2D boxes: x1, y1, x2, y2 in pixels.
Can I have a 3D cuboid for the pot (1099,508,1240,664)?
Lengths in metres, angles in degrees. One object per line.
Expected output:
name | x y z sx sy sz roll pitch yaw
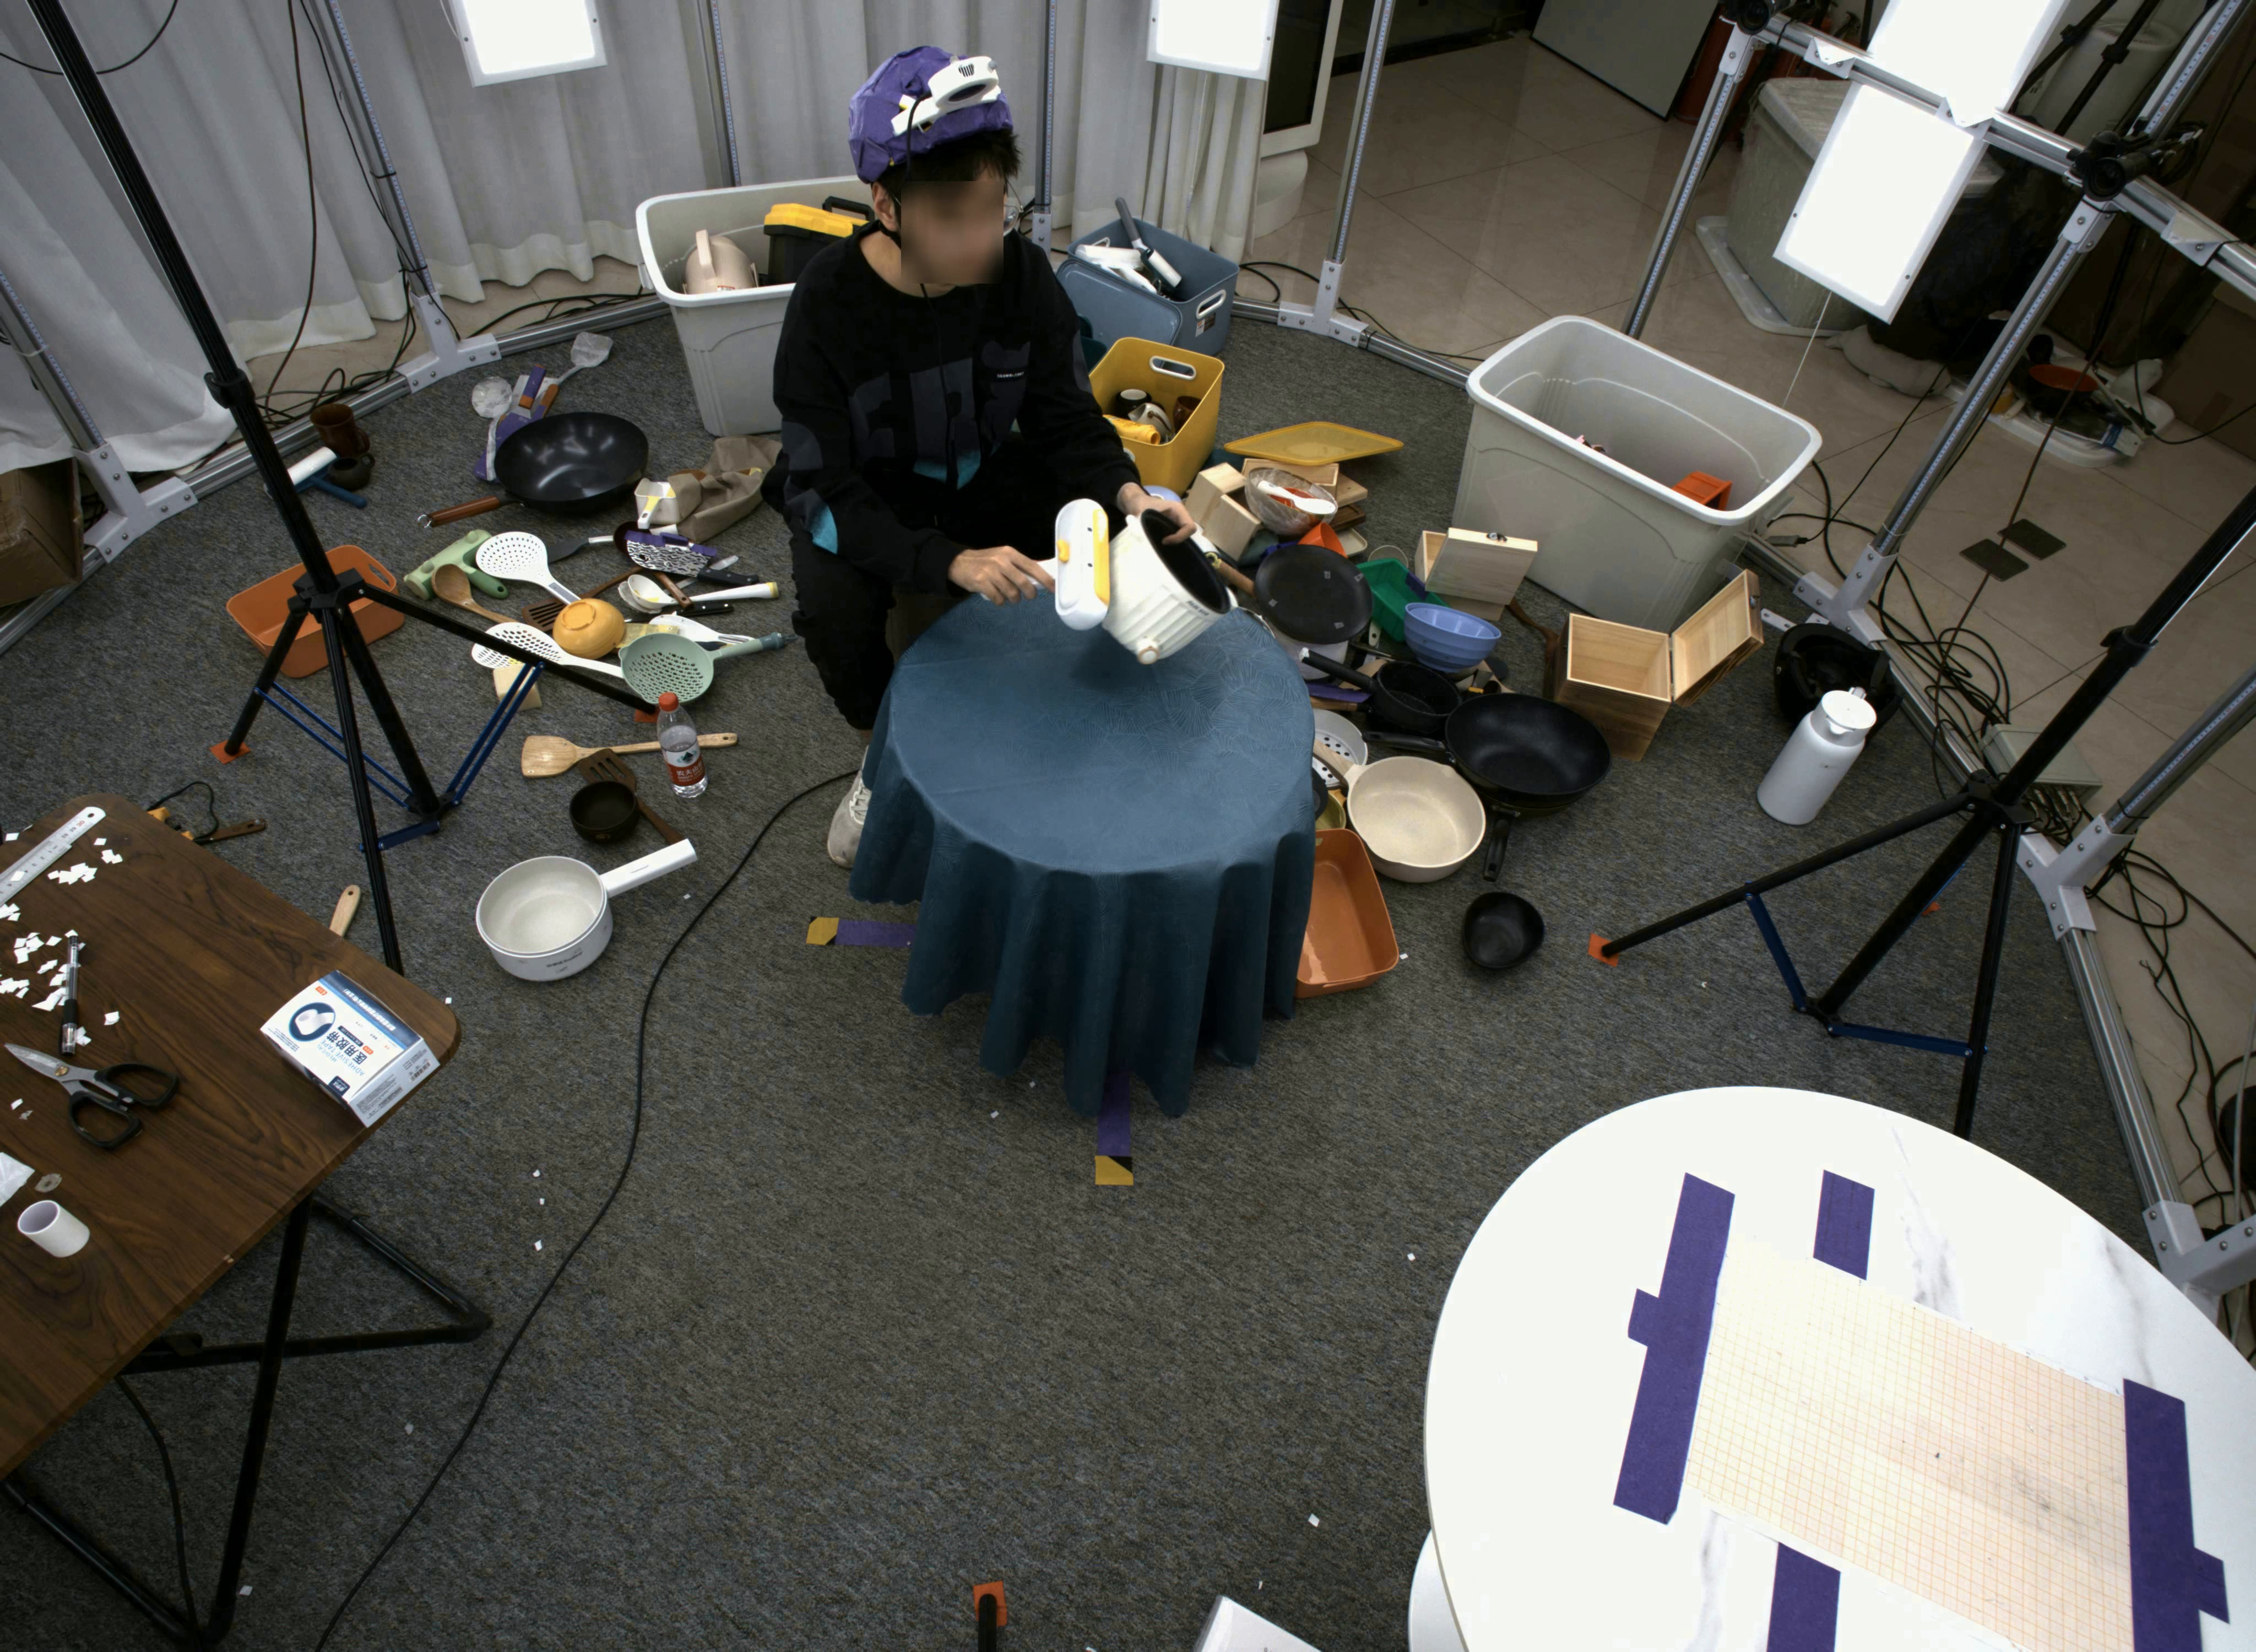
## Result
pot | 0.040 -0.326 1.798 0.237 0.141 0.195 26 32 -41

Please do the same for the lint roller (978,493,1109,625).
lint roller | -0.116 -0.345 1.758 0.191 0.073 0.196 -21 63 29
